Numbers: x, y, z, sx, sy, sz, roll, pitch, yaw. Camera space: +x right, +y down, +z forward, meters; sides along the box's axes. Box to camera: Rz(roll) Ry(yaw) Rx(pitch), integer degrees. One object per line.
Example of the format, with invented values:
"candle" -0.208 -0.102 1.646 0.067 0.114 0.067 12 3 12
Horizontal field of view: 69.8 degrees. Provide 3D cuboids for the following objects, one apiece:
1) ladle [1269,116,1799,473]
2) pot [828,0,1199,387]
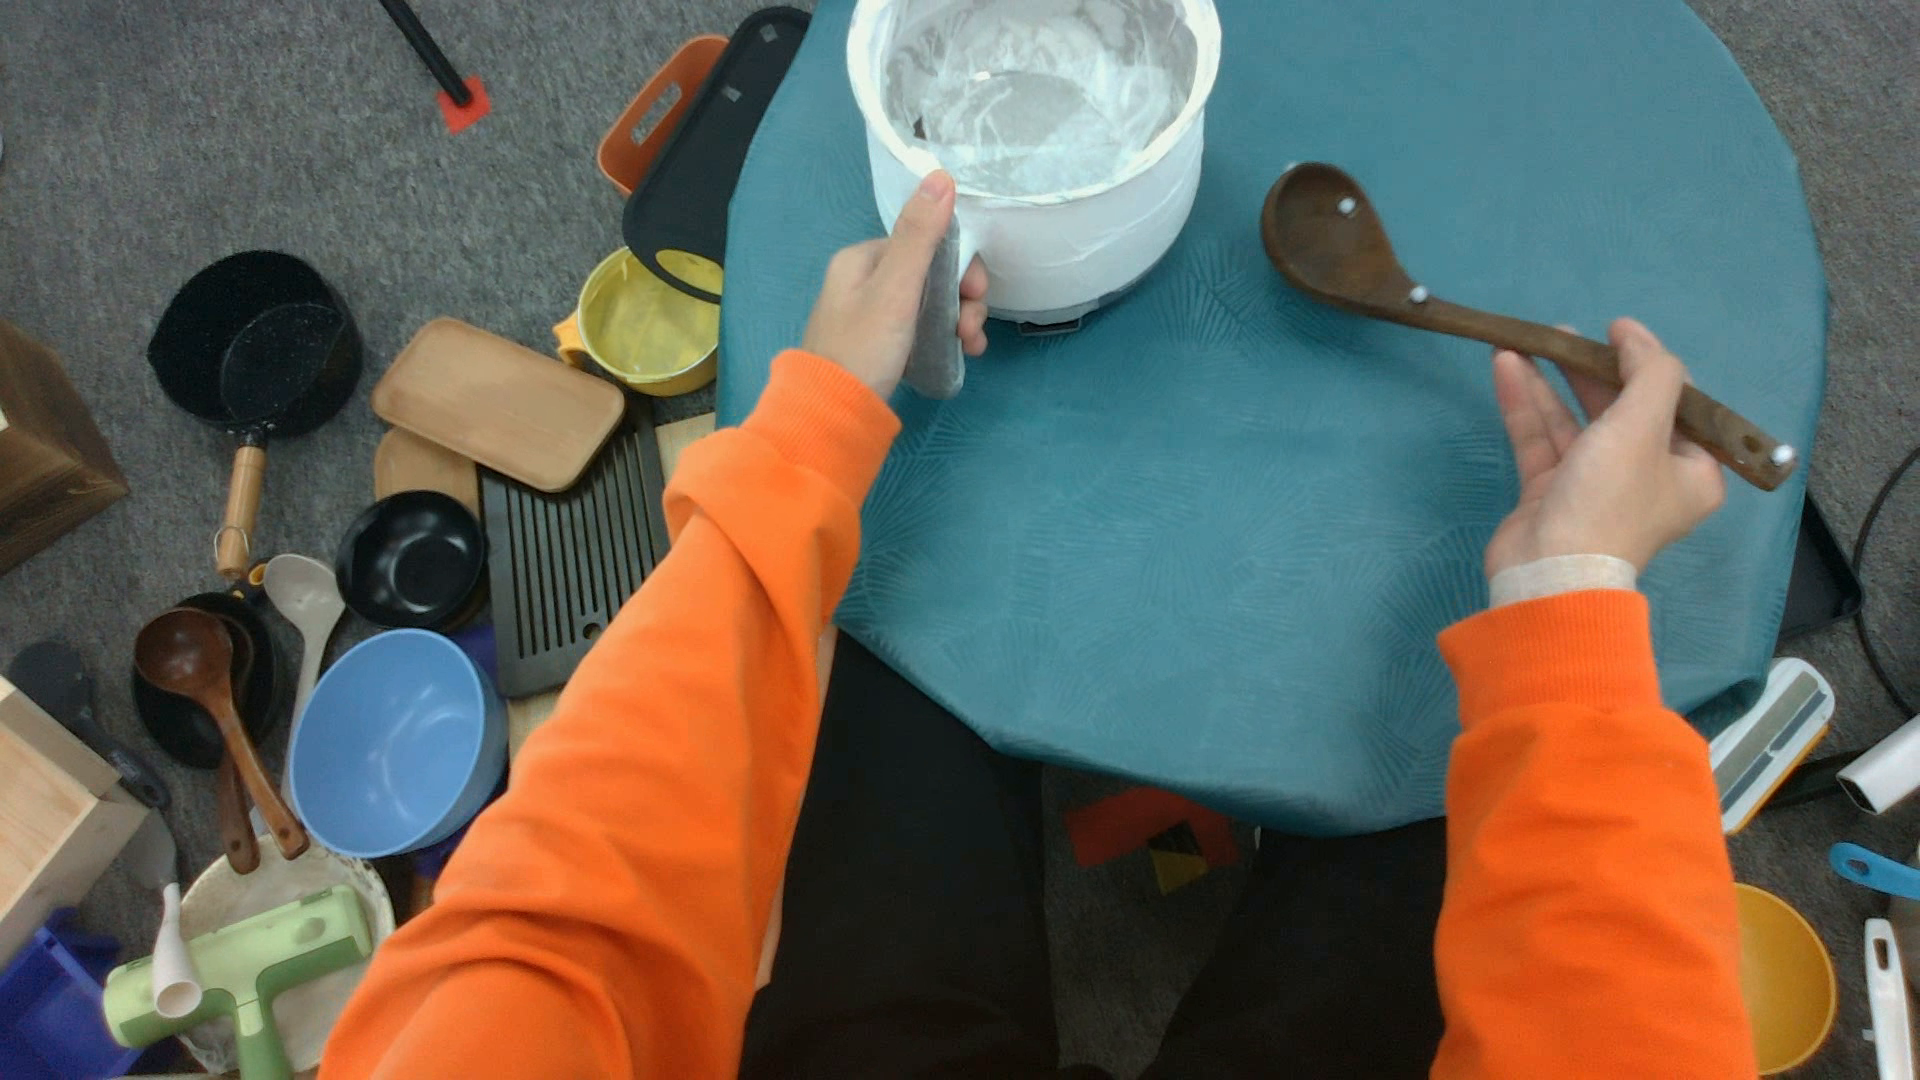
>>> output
"ladle" 0.260 -0.123 0.641 0.076 0.071 0.274 -35 50 -20
"pot" 0.019 -0.197 0.705 0.178 0.136 0.234 20 72 12
